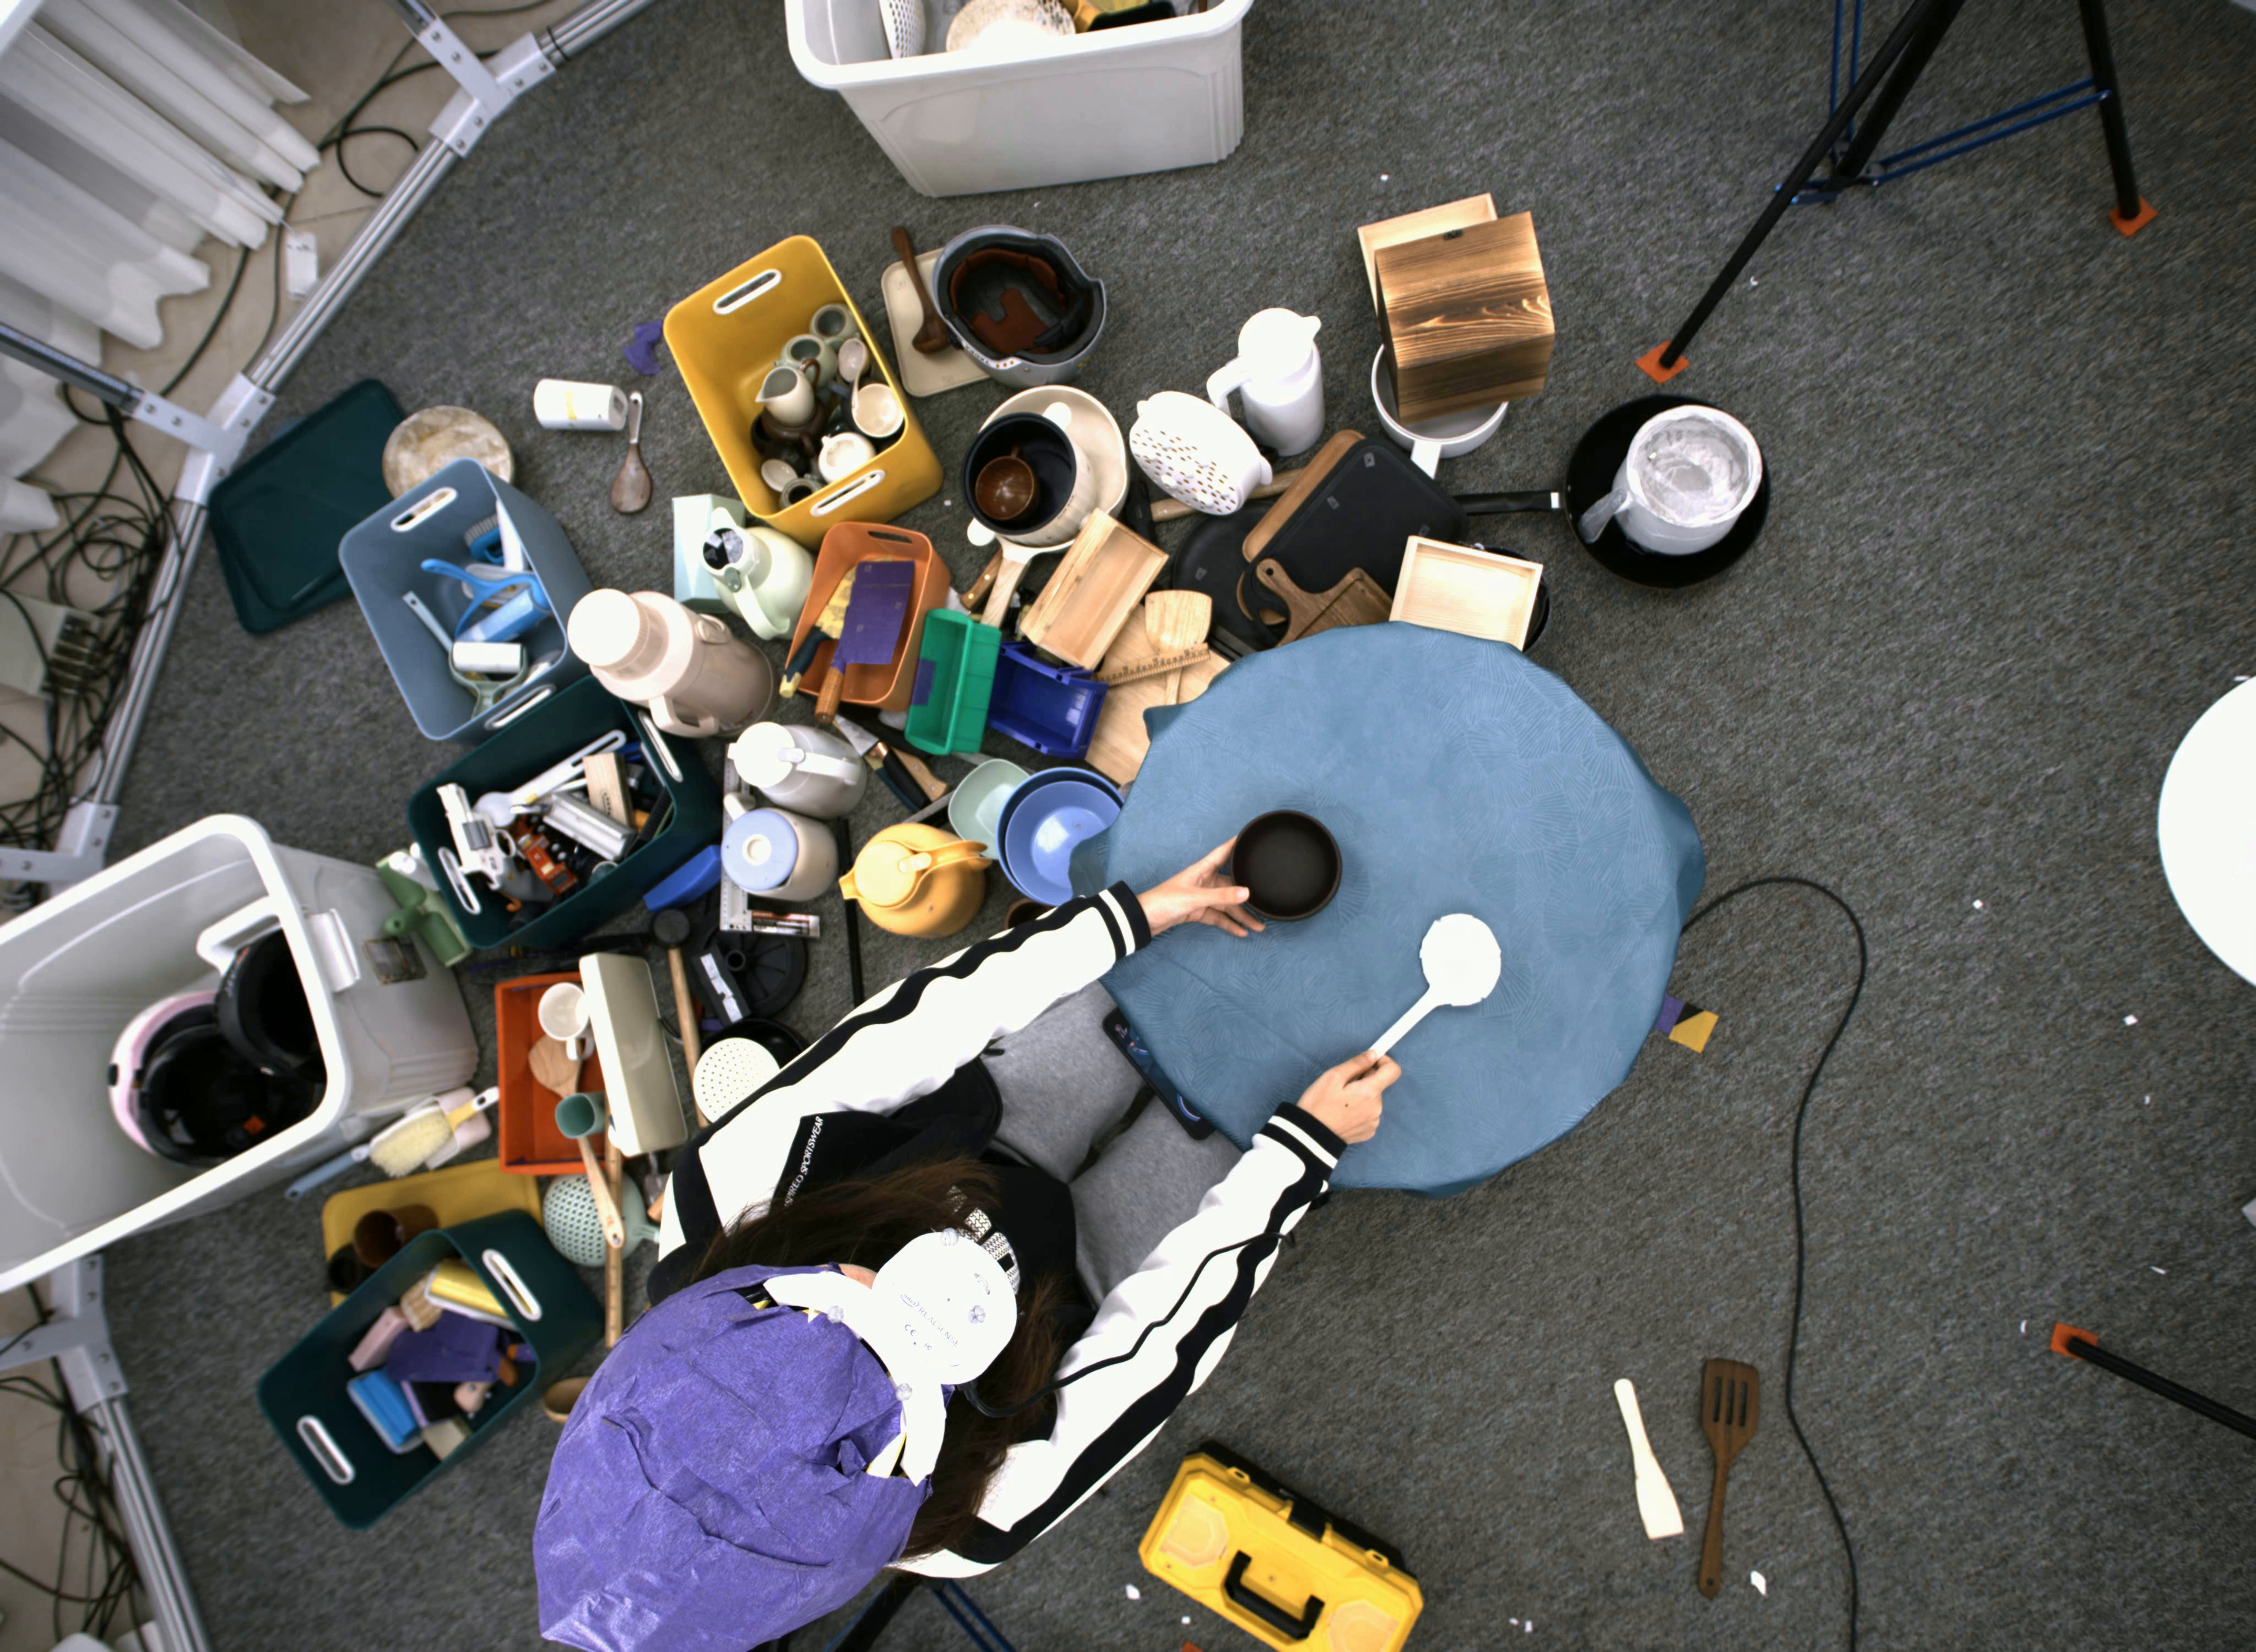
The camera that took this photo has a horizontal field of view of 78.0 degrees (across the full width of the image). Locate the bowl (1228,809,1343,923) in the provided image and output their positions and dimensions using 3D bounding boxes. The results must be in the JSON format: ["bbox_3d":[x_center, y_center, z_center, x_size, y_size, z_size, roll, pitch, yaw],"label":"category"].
[{"bbox_3d":[0.165,0.043,1.444,0.118,0.070,0.117,-1,86,11],"label":"bowl"}]

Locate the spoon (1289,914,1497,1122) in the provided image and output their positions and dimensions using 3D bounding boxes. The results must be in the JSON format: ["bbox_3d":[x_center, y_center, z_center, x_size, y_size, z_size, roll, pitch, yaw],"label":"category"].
[{"bbox_3d":[0.262,0.198,1.415,0.278,0.060,0.099,-41,52,3],"label":"spoon"}]
